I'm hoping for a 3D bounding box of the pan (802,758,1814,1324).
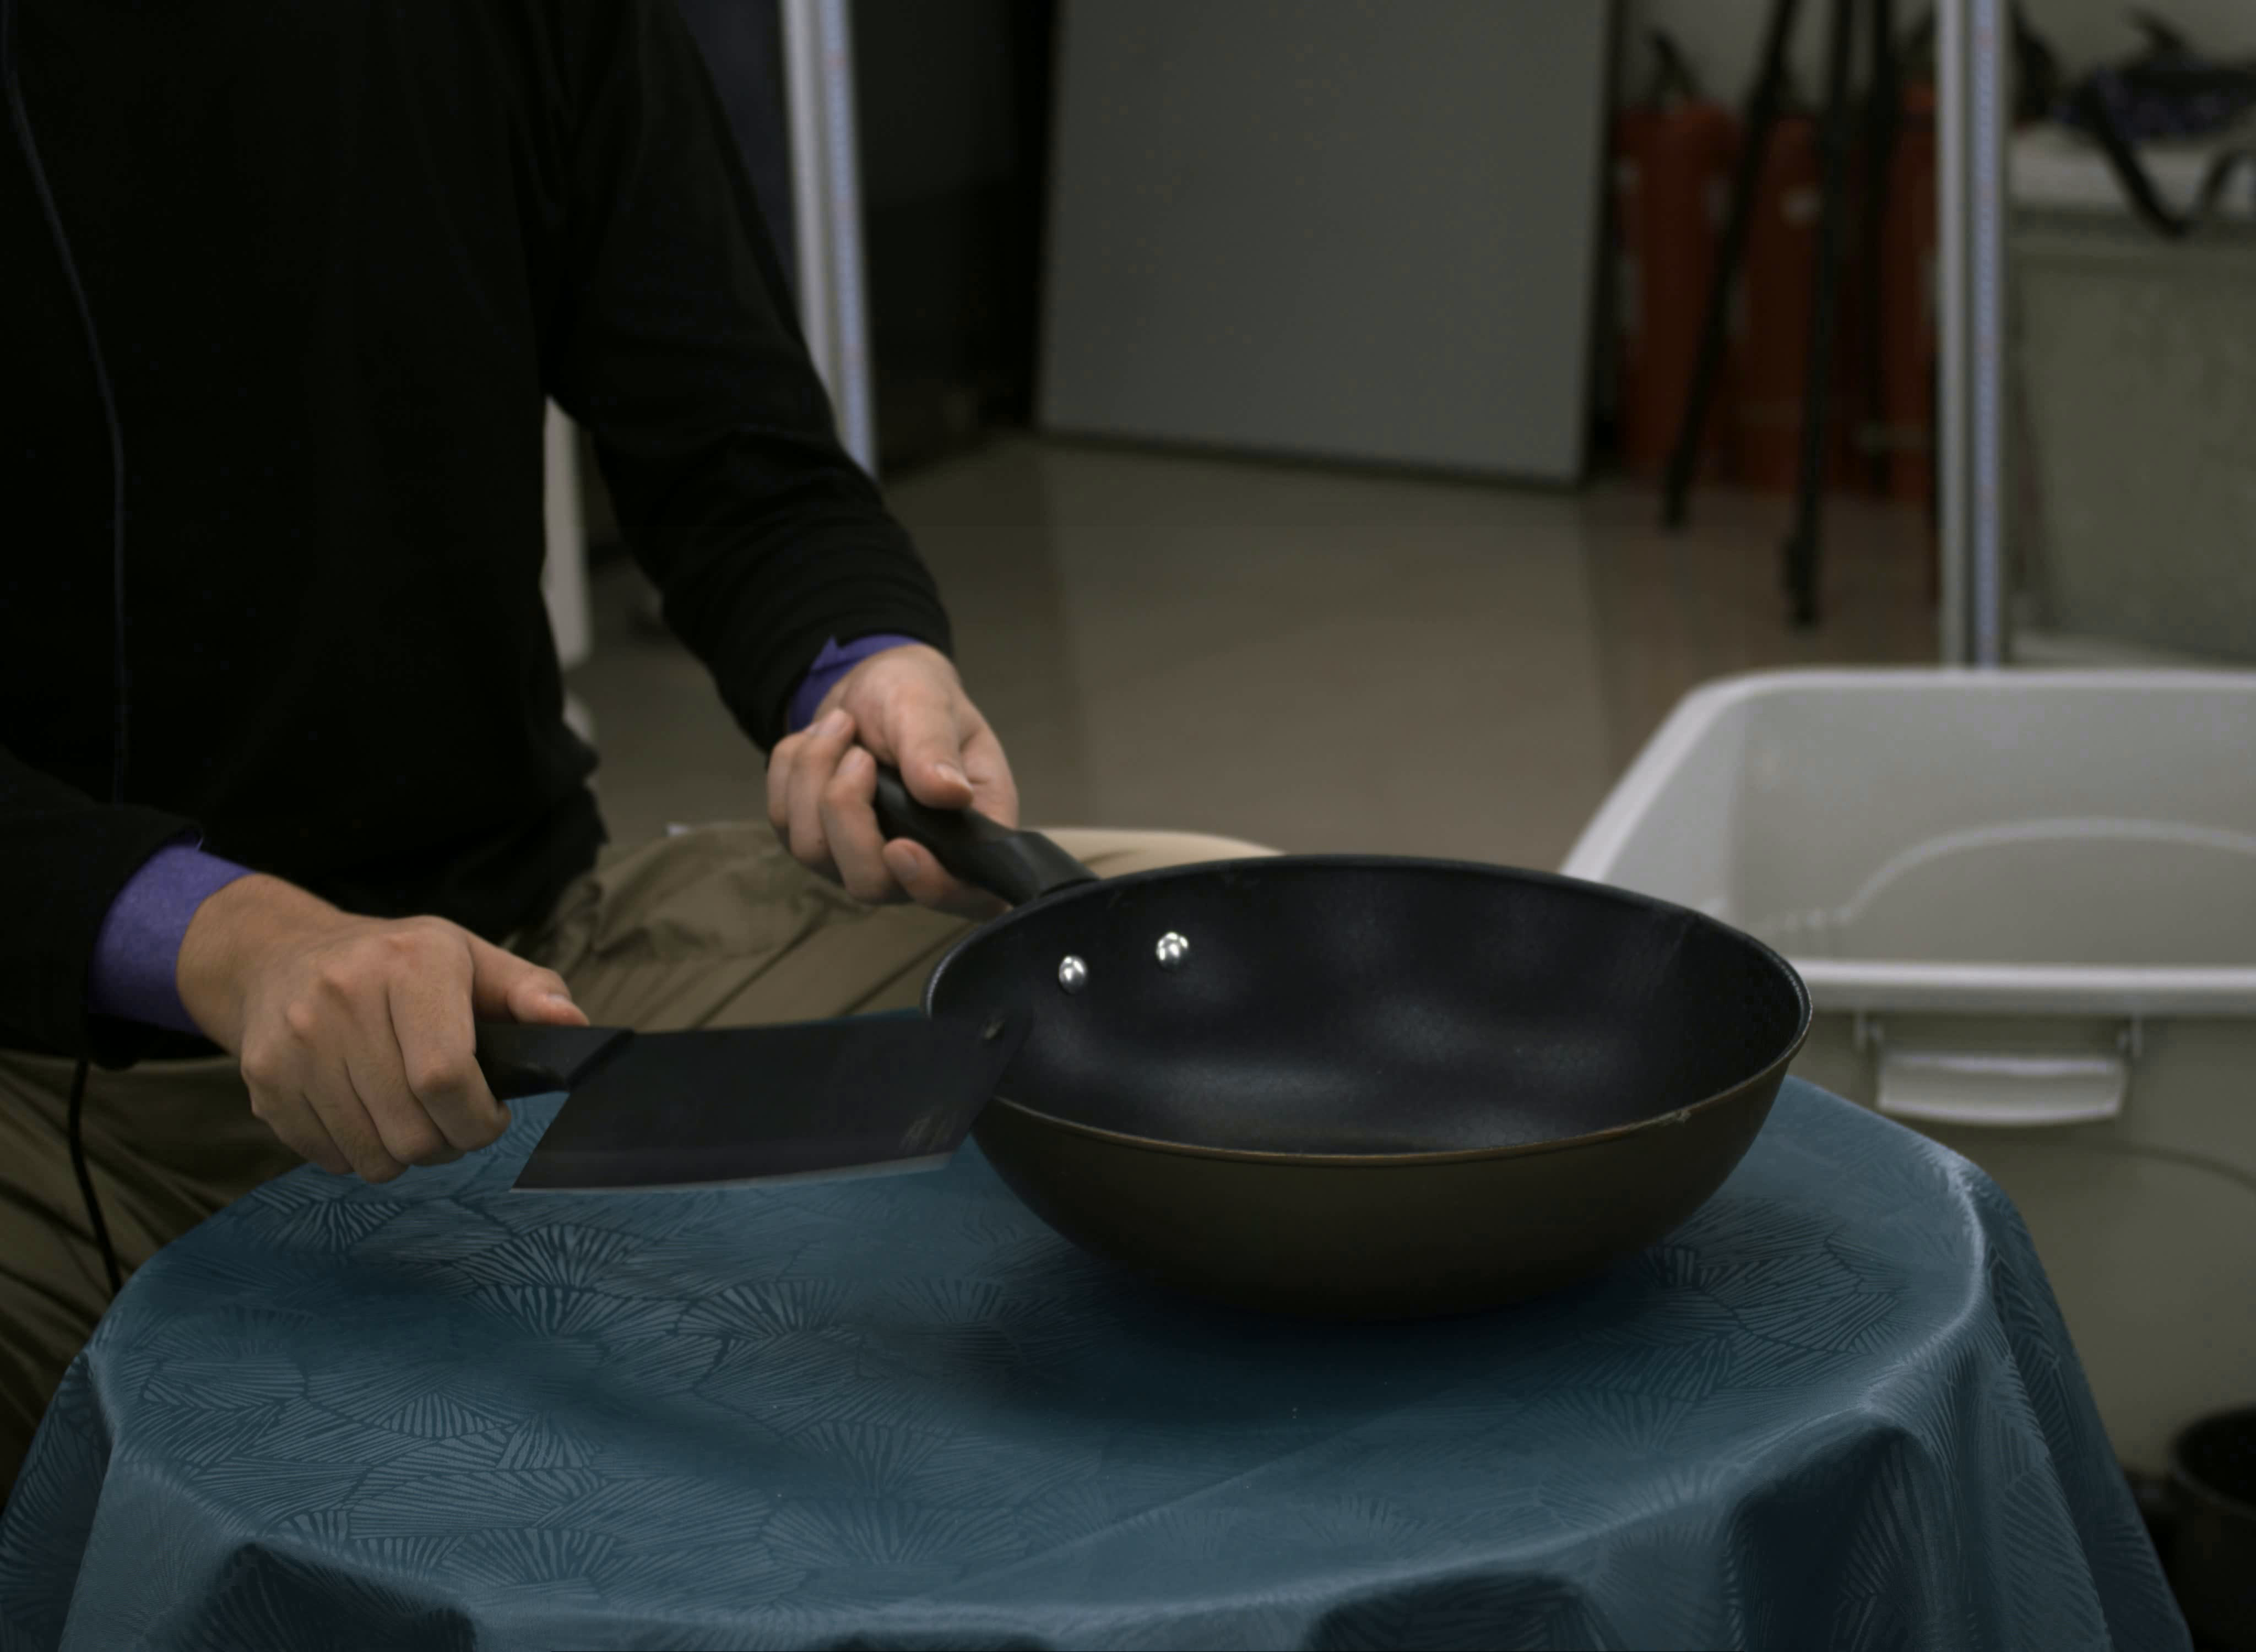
[{"bbox_3d":[0.020,0.067,1.759,0.282,0.088,0.468,-13,21,-34],"label":"pan"}]

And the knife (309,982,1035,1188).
[{"bbox_3d":[-0.147,0.080,1.644,0.305,0.021,0.081,-4,44,45],"label":"knife"}]
